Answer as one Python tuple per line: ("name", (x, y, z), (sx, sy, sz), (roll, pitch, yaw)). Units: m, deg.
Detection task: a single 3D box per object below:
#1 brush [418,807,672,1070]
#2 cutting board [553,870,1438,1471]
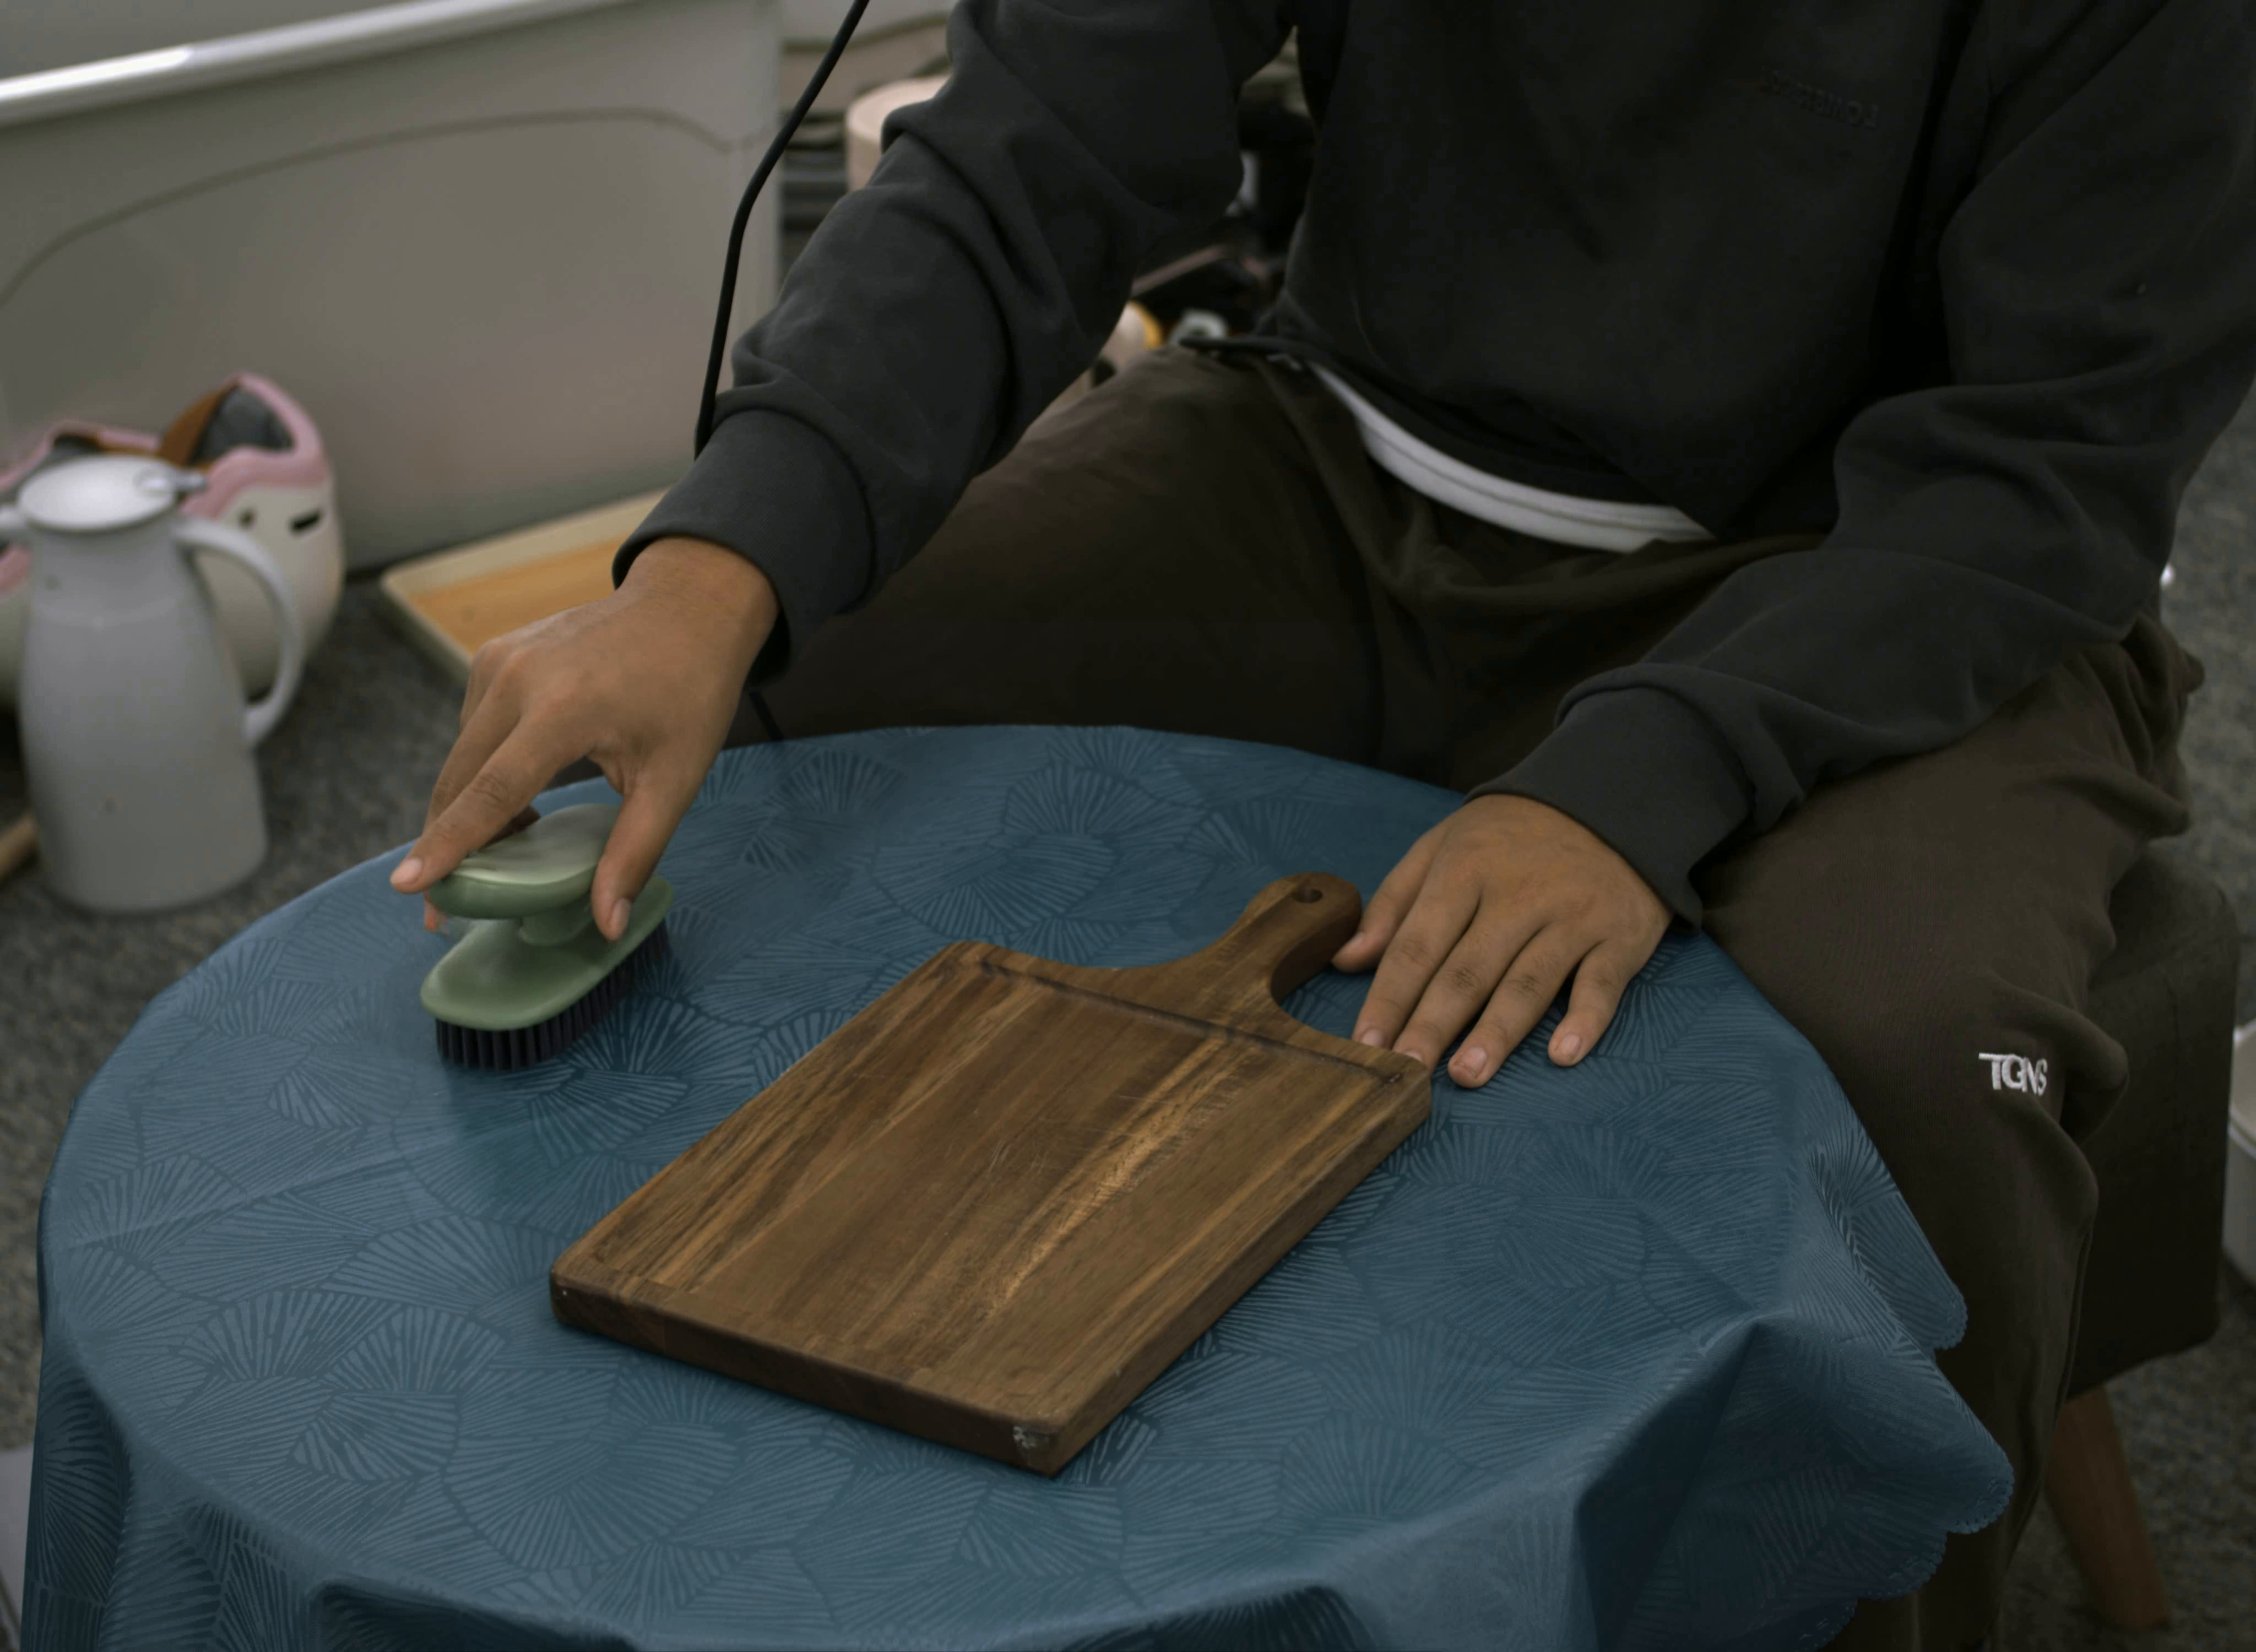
("brush", (-0.207, 0.038, 1.986), (0.059, 0.075, 0.124), (11, 16, 22))
("cutting board", (-0.014, 0.099, 1.888), (0.200, 0.023, 0.358), (14, 31, 28))
